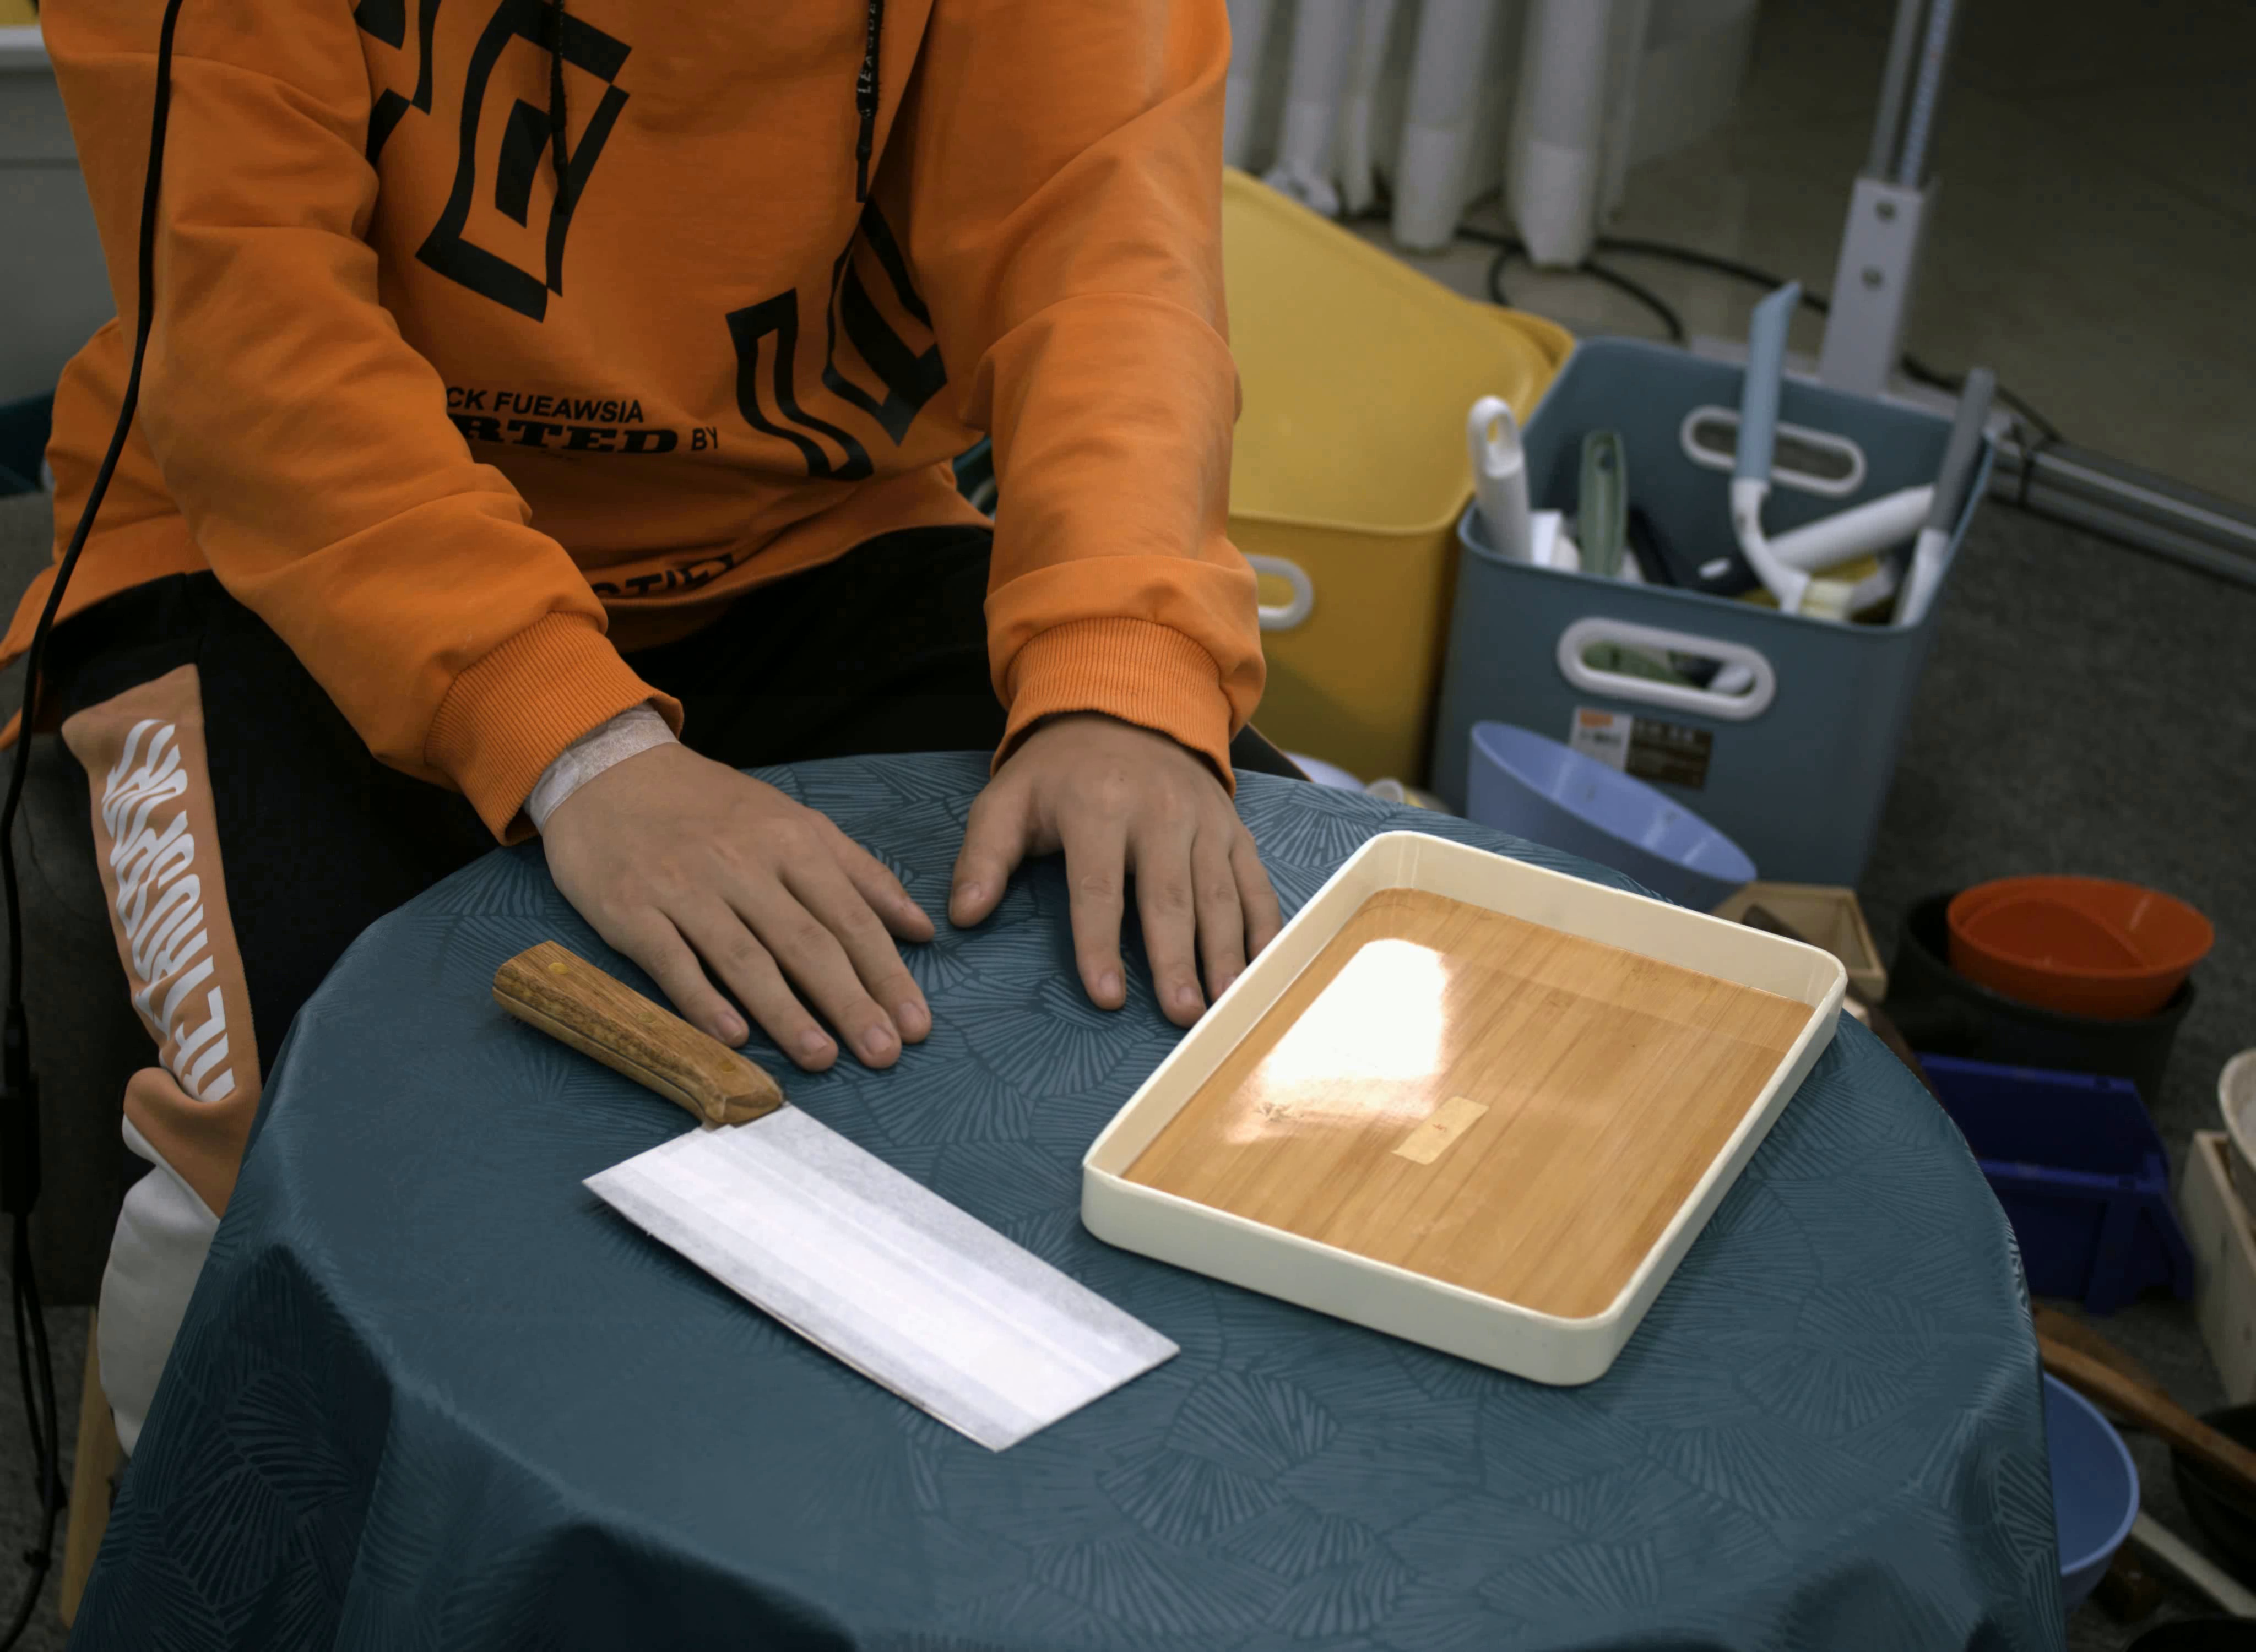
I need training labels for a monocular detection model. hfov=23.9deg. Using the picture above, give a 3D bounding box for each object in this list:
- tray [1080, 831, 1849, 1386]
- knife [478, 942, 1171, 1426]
[{"bbox_3d":[0.123,0.092,1.861,0.192,0.027,0.300,16,29,18],"label":"tray"},{"bbox_3d":[-0.123,0.119,1.767,0.308,0.021,0.092,29,36,33],"label":"knife"}]
